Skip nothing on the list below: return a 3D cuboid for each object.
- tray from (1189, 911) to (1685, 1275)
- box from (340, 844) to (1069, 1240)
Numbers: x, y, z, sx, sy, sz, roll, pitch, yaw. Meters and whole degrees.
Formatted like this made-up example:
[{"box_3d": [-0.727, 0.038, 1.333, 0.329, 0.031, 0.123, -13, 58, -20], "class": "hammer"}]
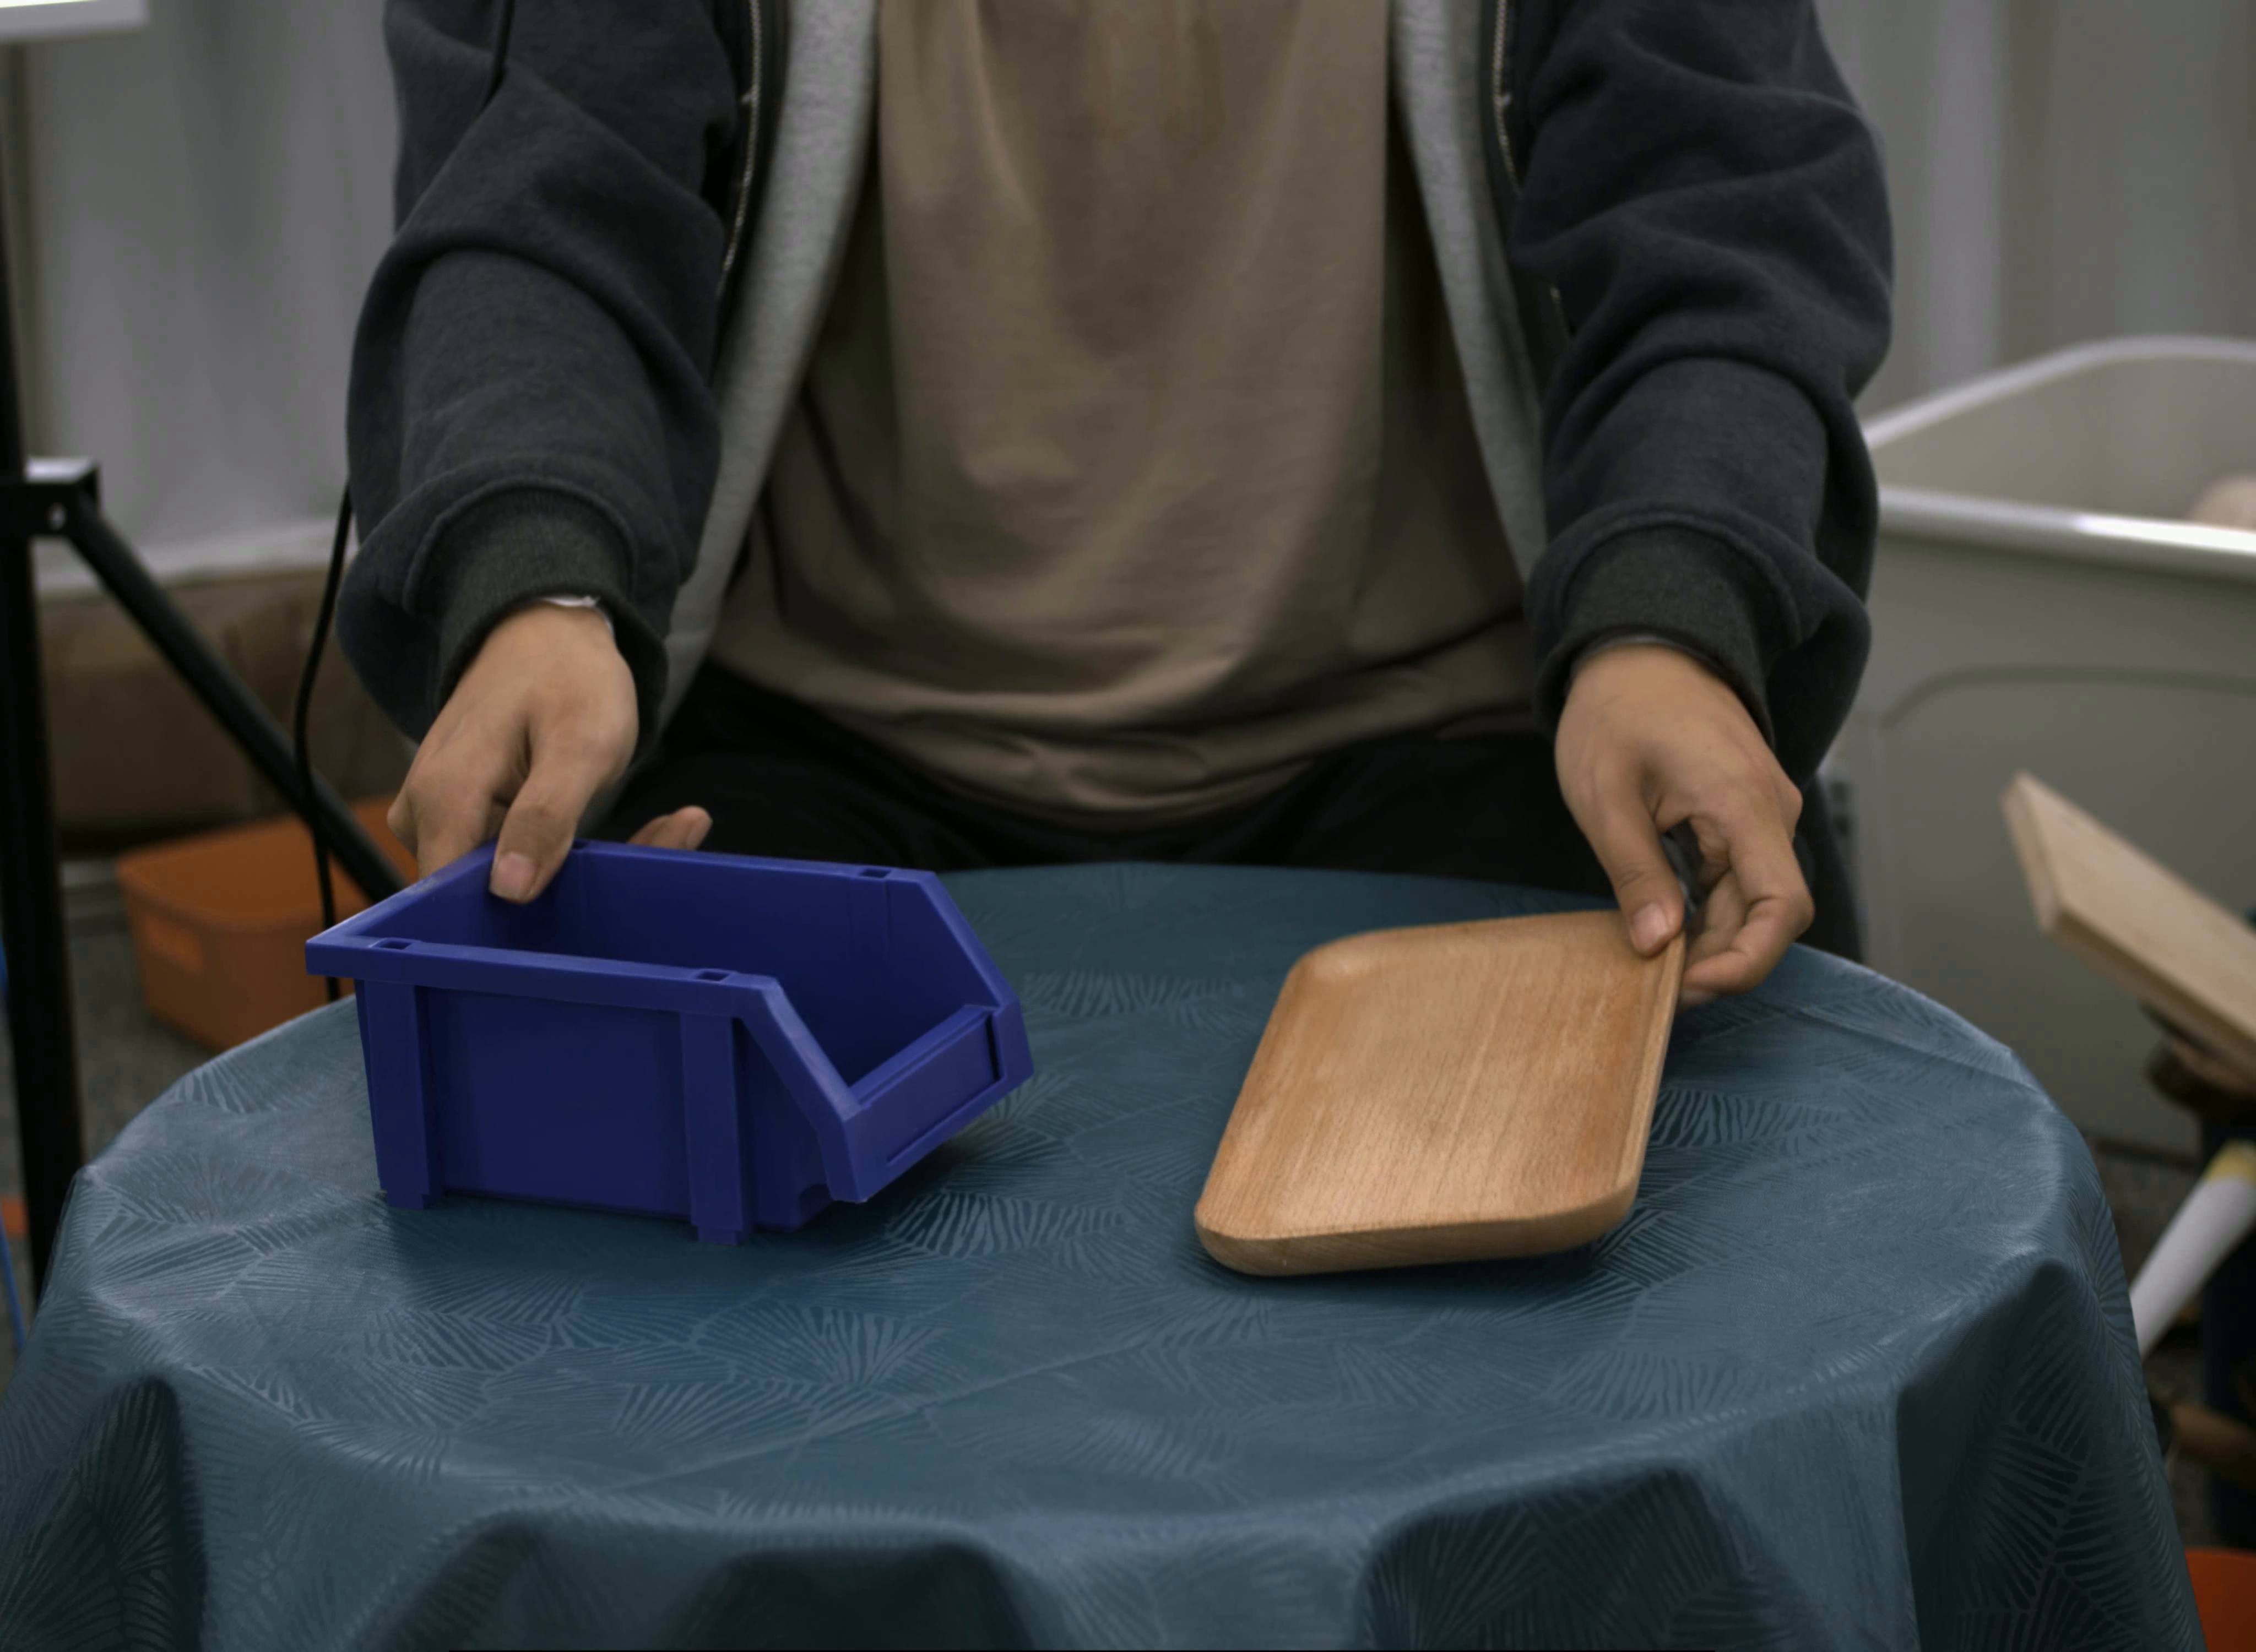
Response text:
[{"box_3d": [0.096, 0.077, 1.581, 0.131, 0.023, 0.249, -5, 17, 13], "class": "tray"}, {"box_3d": [-0.123, 0.062, 1.592, 0.182, 0.082, 0.122, 2, 16, 27], "class": "box"}]
